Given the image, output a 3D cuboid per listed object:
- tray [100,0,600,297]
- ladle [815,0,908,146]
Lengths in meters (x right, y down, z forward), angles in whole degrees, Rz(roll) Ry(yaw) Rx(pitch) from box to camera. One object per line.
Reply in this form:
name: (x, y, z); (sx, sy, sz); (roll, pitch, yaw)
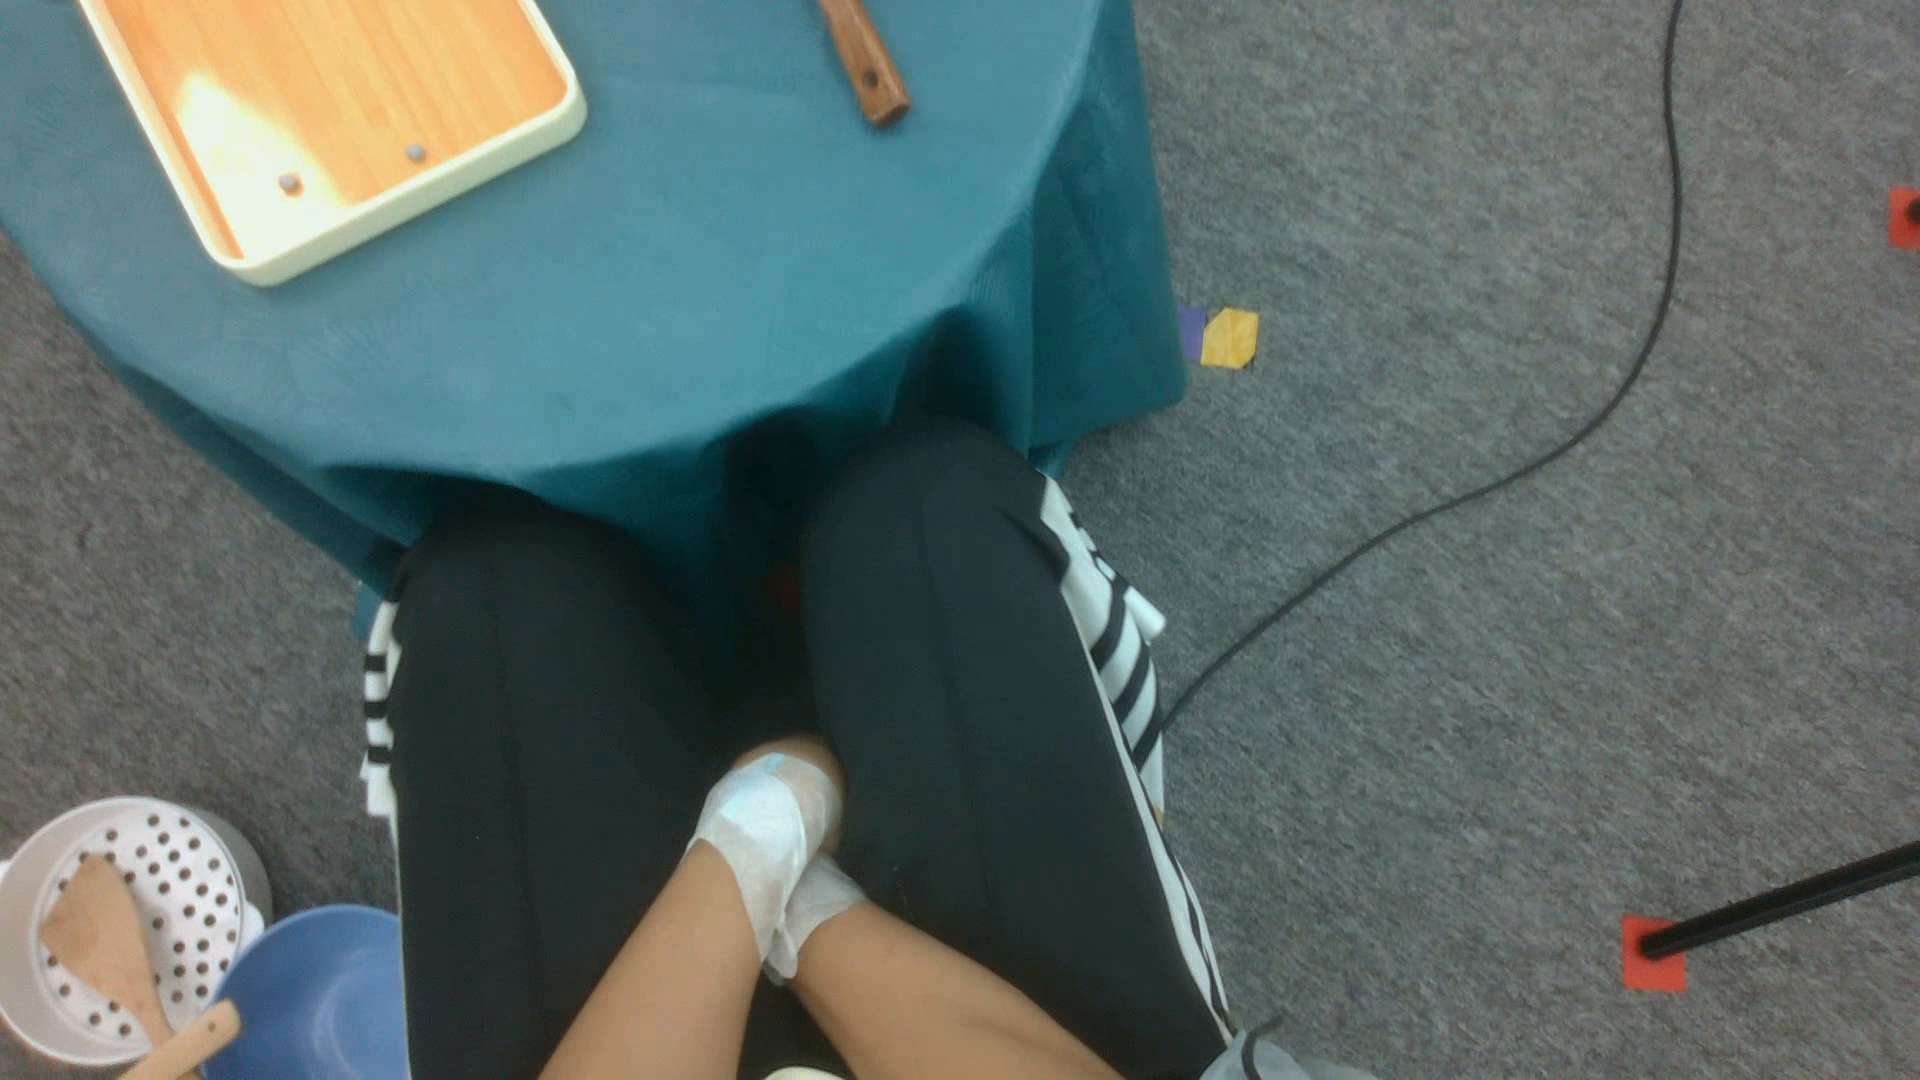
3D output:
tray: (-0.332, -0.287, 0.705); (0.192, 0.027, 0.300); (-29, 79, -7)
ladle: (-0.093, -0.332, 0.697); (0.081, 0.077, 0.274); (-26, 77, 36)
